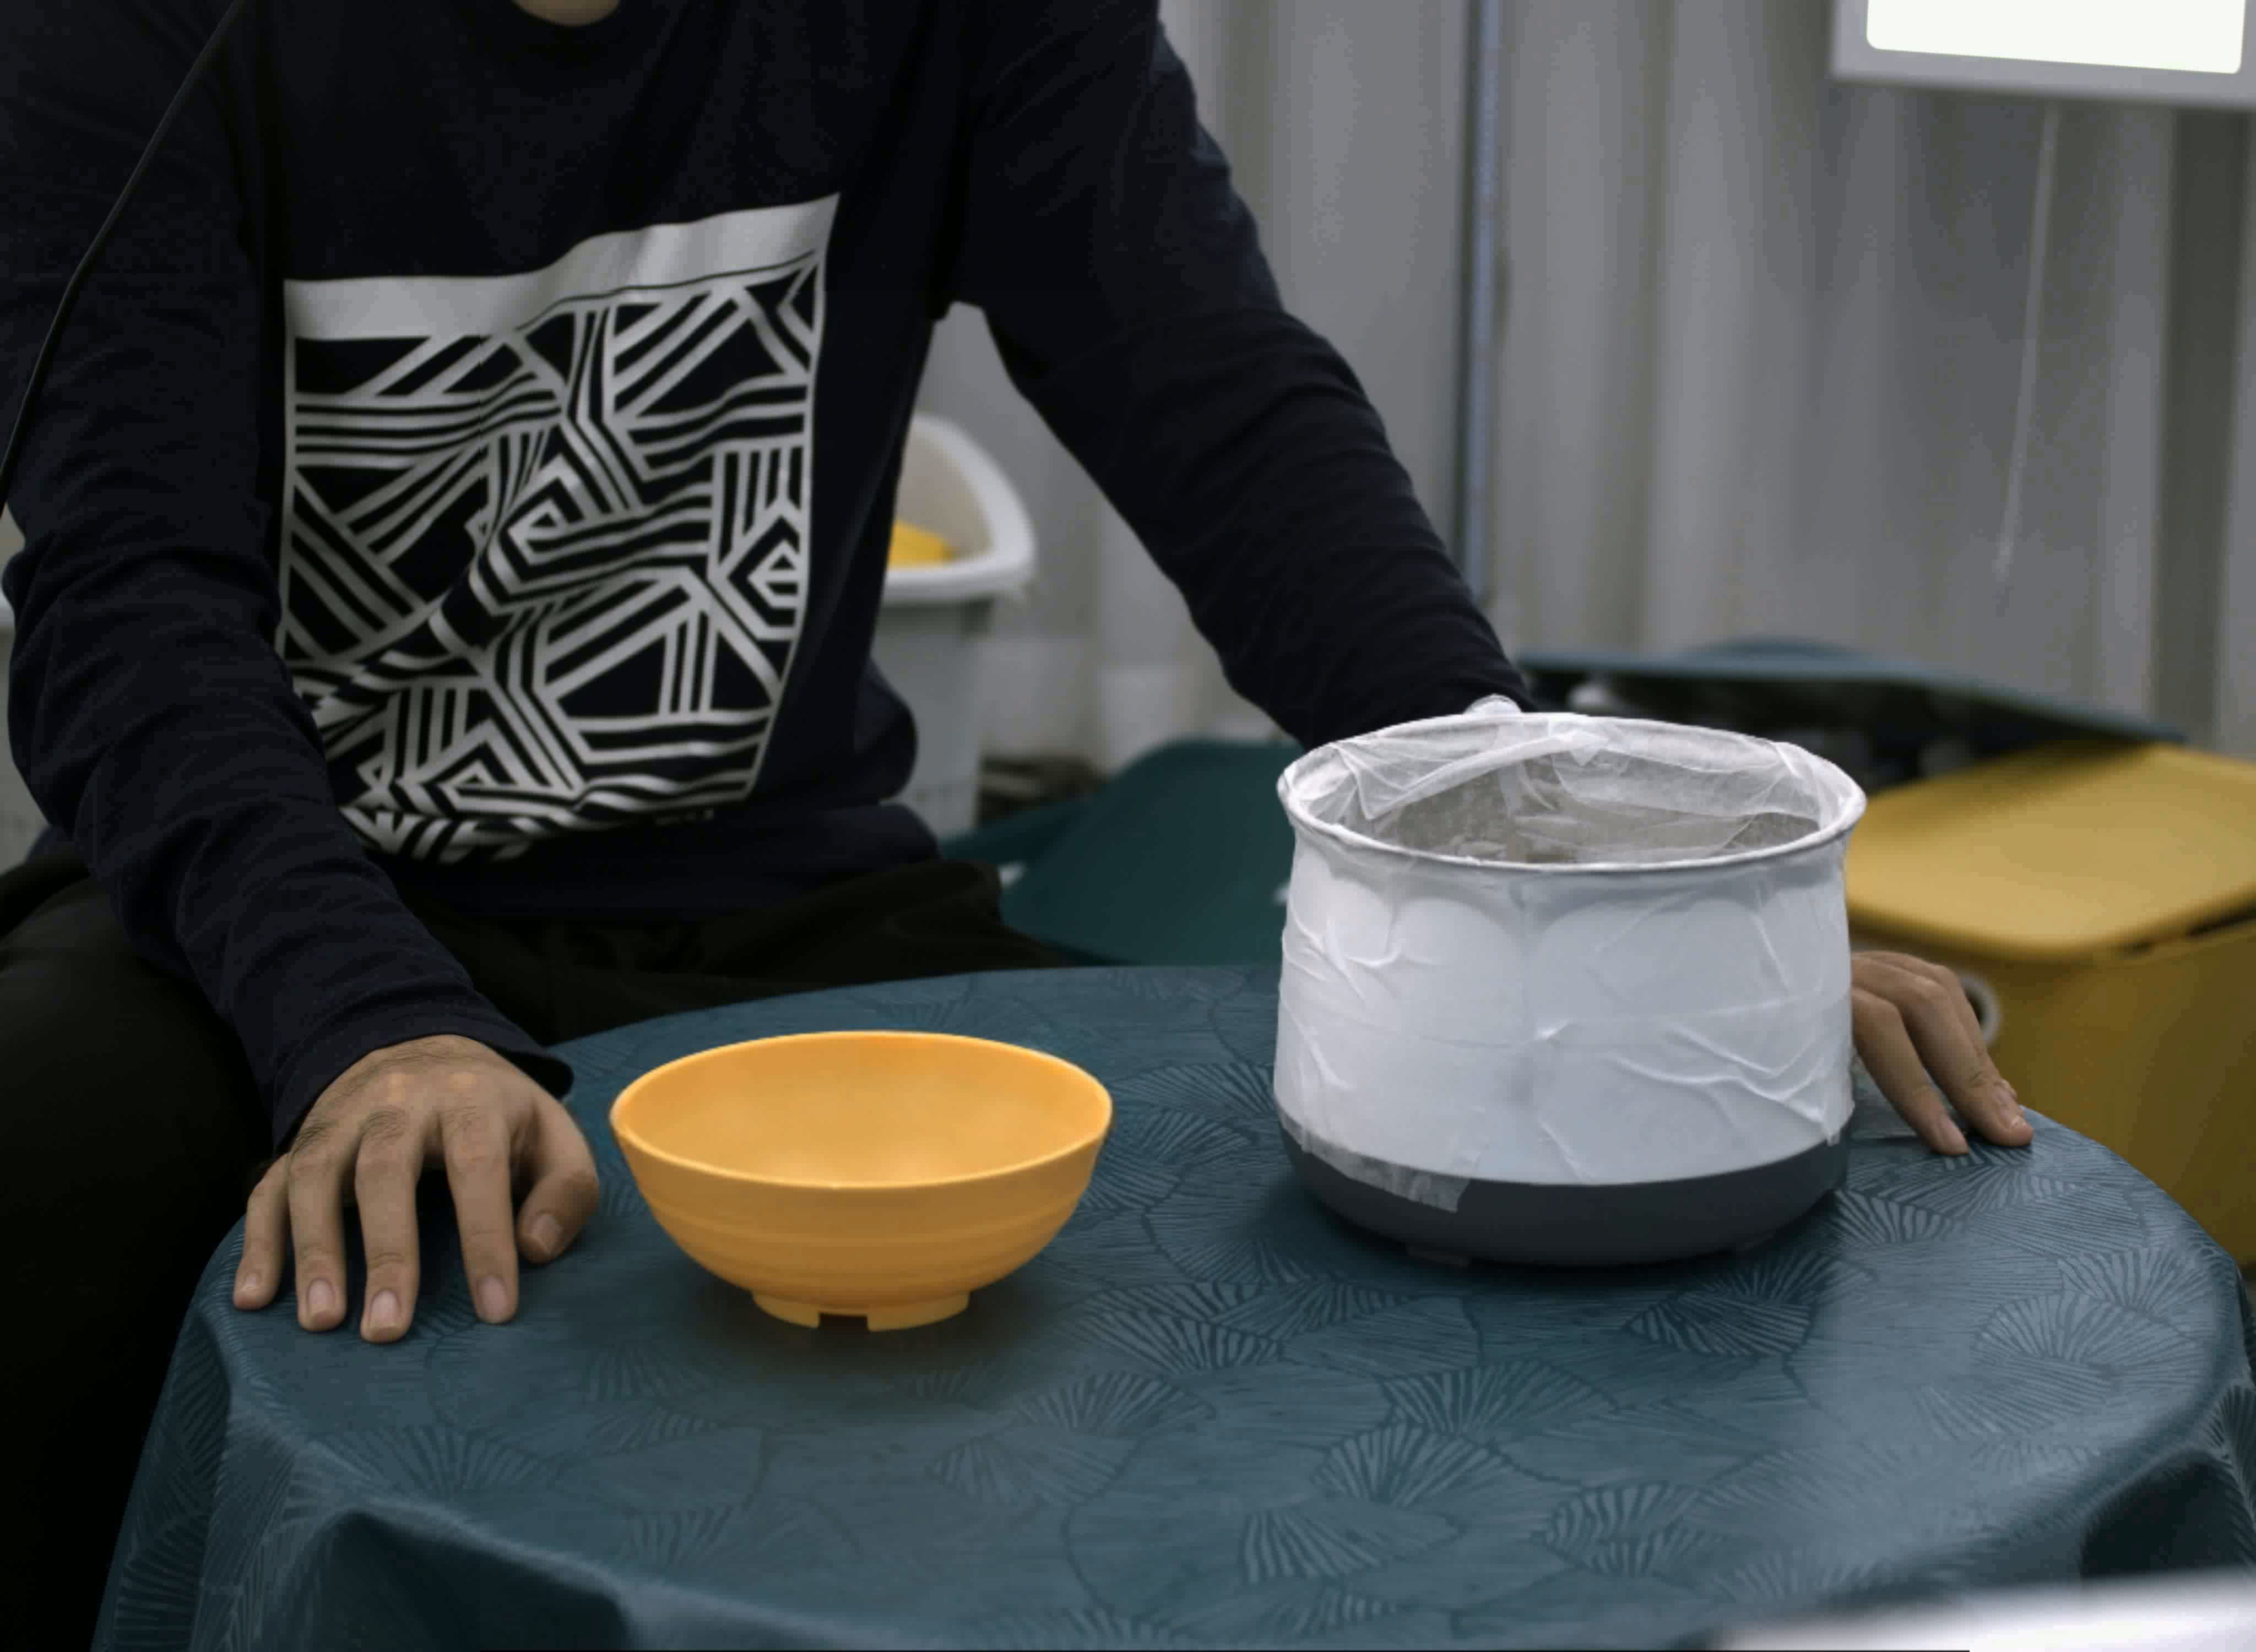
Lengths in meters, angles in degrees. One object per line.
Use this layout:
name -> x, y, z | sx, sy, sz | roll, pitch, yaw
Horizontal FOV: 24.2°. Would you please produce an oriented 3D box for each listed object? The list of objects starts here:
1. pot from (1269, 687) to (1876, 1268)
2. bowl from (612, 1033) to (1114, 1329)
pot -> 0.127, 0.041, 1.626 | 0.179, 0.137, 0.231 | 0, 16, -12
bowl -> -0.075, 0.107, 1.524 | 0.145, 0.060, 0.144 | -1, 15, 1
